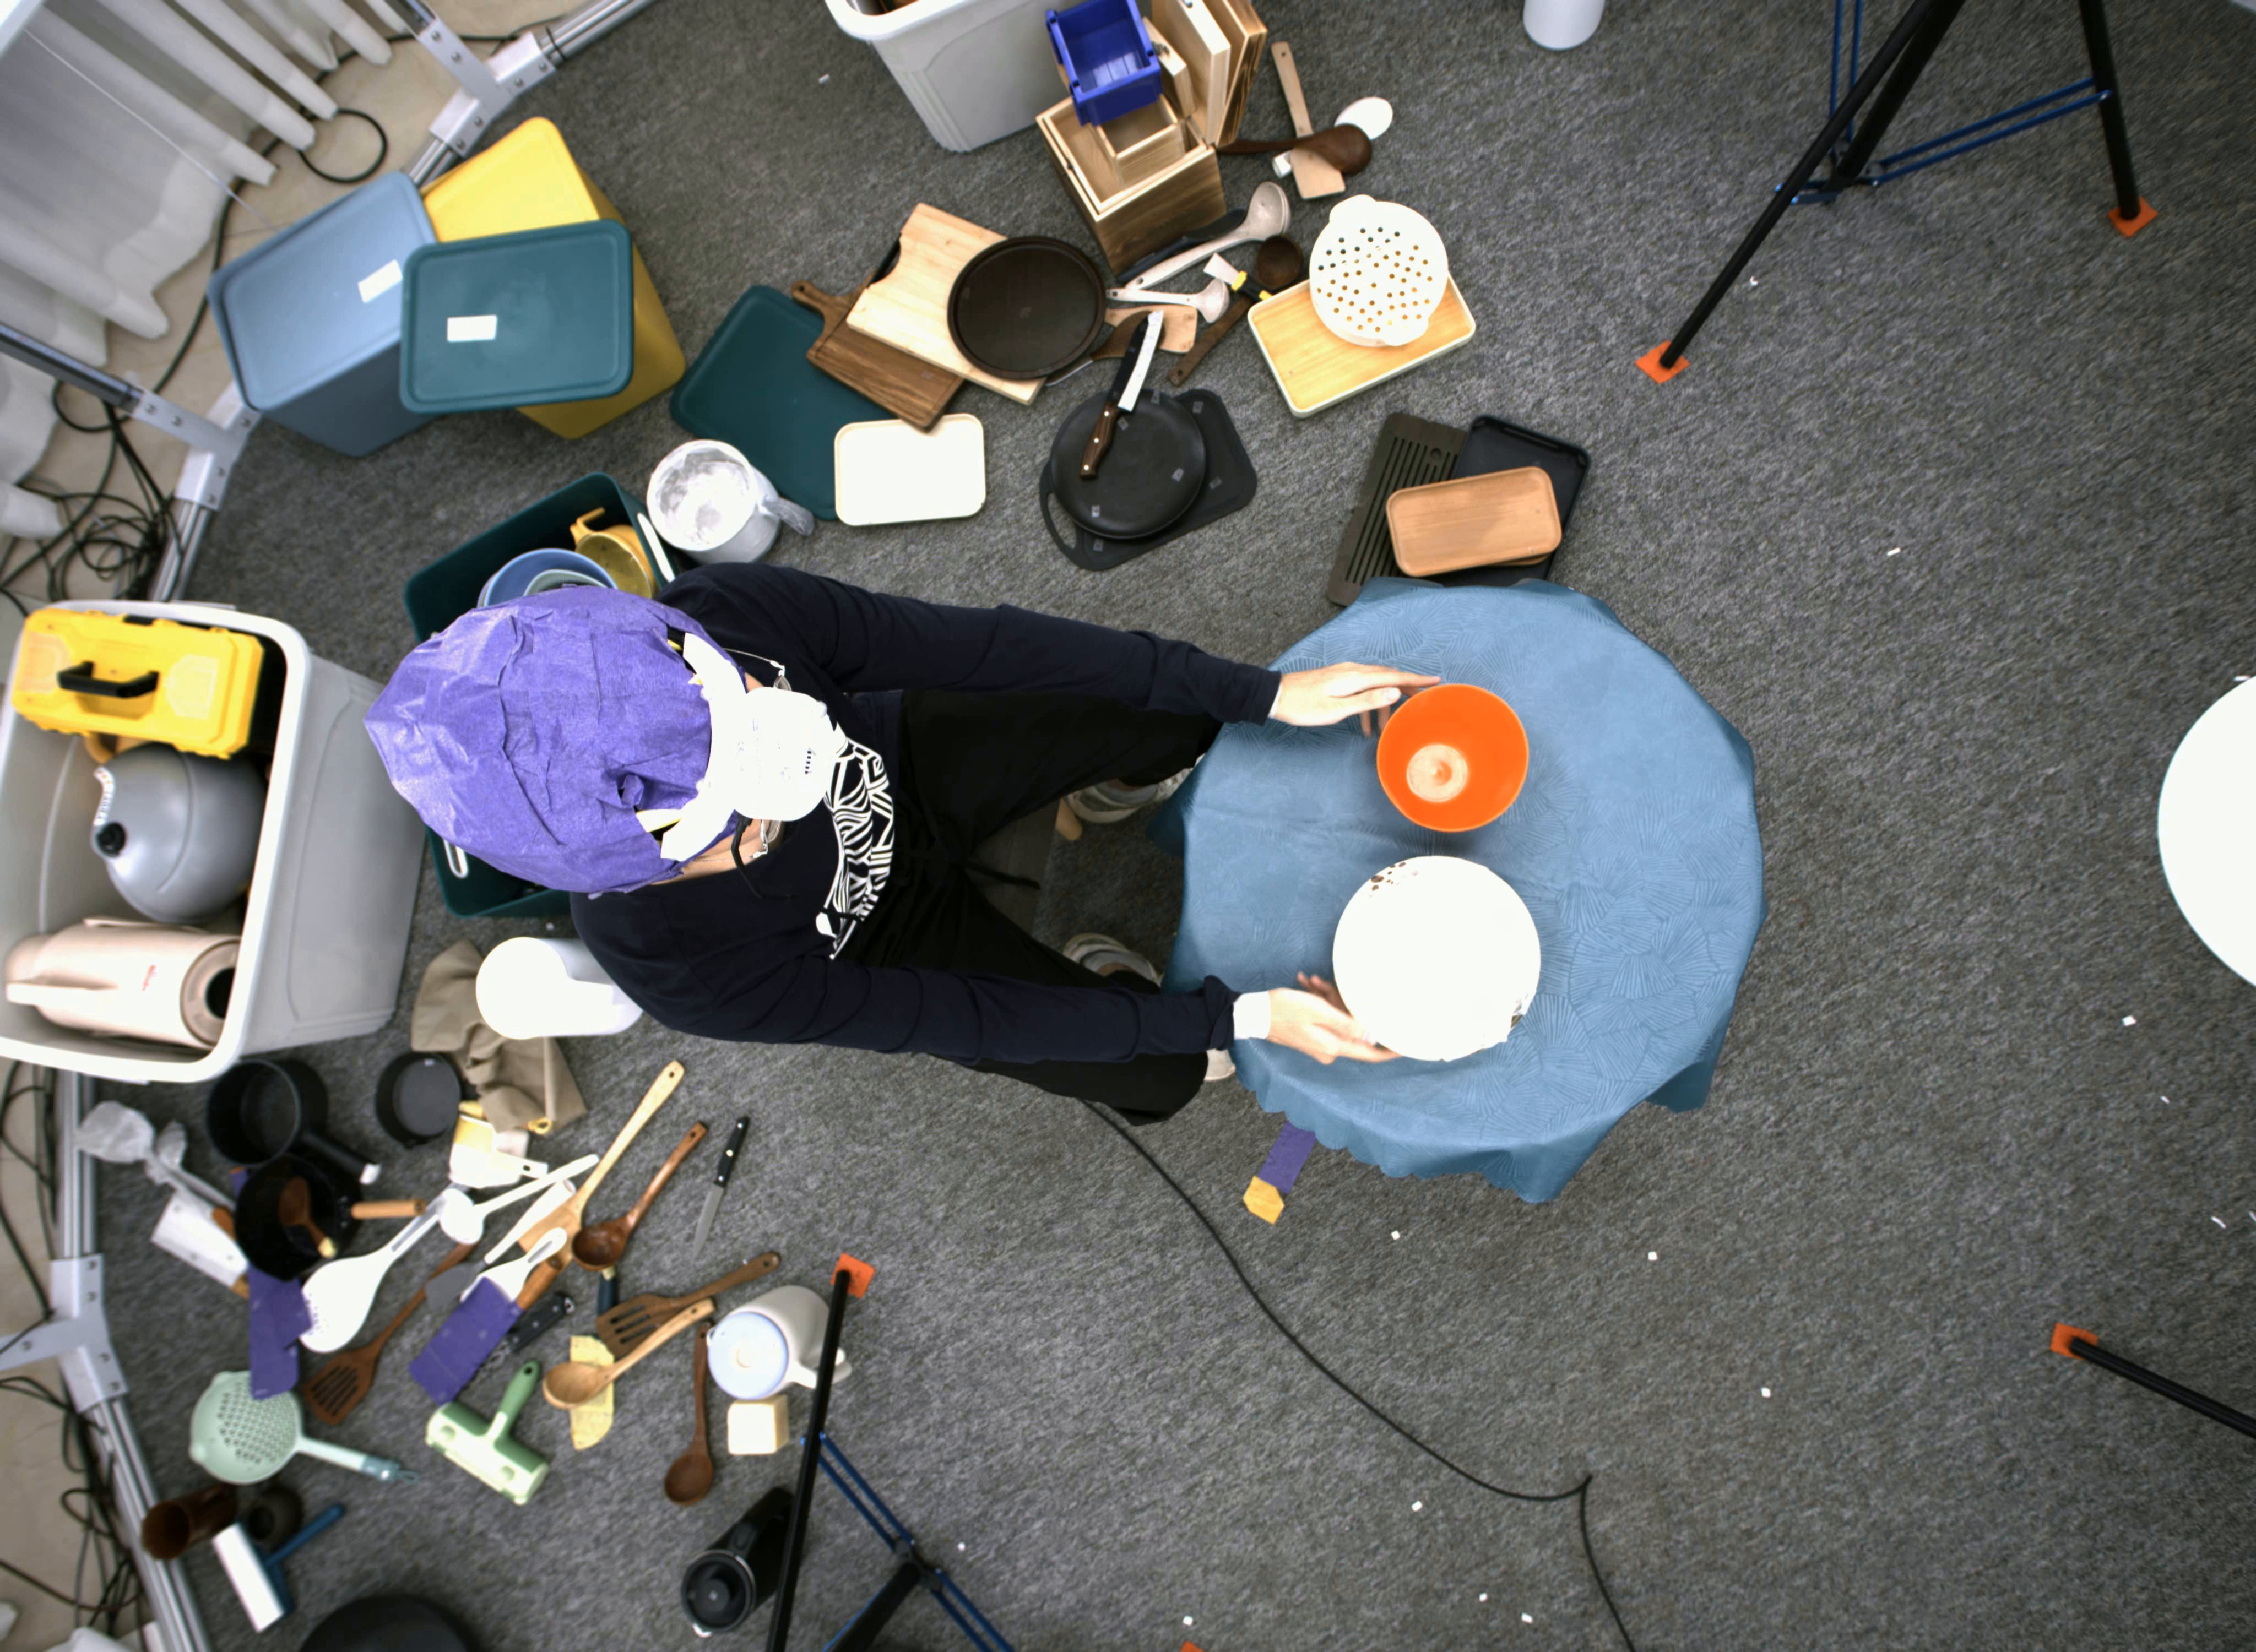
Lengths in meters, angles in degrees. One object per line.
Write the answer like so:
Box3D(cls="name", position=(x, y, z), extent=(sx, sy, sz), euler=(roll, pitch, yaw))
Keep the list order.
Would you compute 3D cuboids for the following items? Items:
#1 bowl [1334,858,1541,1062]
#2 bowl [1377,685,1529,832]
Box3D(cls="bowl", position=(0.316, 0.136, 1.412), extent=(0.205, 0.078, 0.203), euler=(-2, 84, 14))
Box3D(cls="bowl", position=(0.331, -0.065, 1.406), extent=(0.148, 0.104, 0.147), euler=(-1, 86, 12))
